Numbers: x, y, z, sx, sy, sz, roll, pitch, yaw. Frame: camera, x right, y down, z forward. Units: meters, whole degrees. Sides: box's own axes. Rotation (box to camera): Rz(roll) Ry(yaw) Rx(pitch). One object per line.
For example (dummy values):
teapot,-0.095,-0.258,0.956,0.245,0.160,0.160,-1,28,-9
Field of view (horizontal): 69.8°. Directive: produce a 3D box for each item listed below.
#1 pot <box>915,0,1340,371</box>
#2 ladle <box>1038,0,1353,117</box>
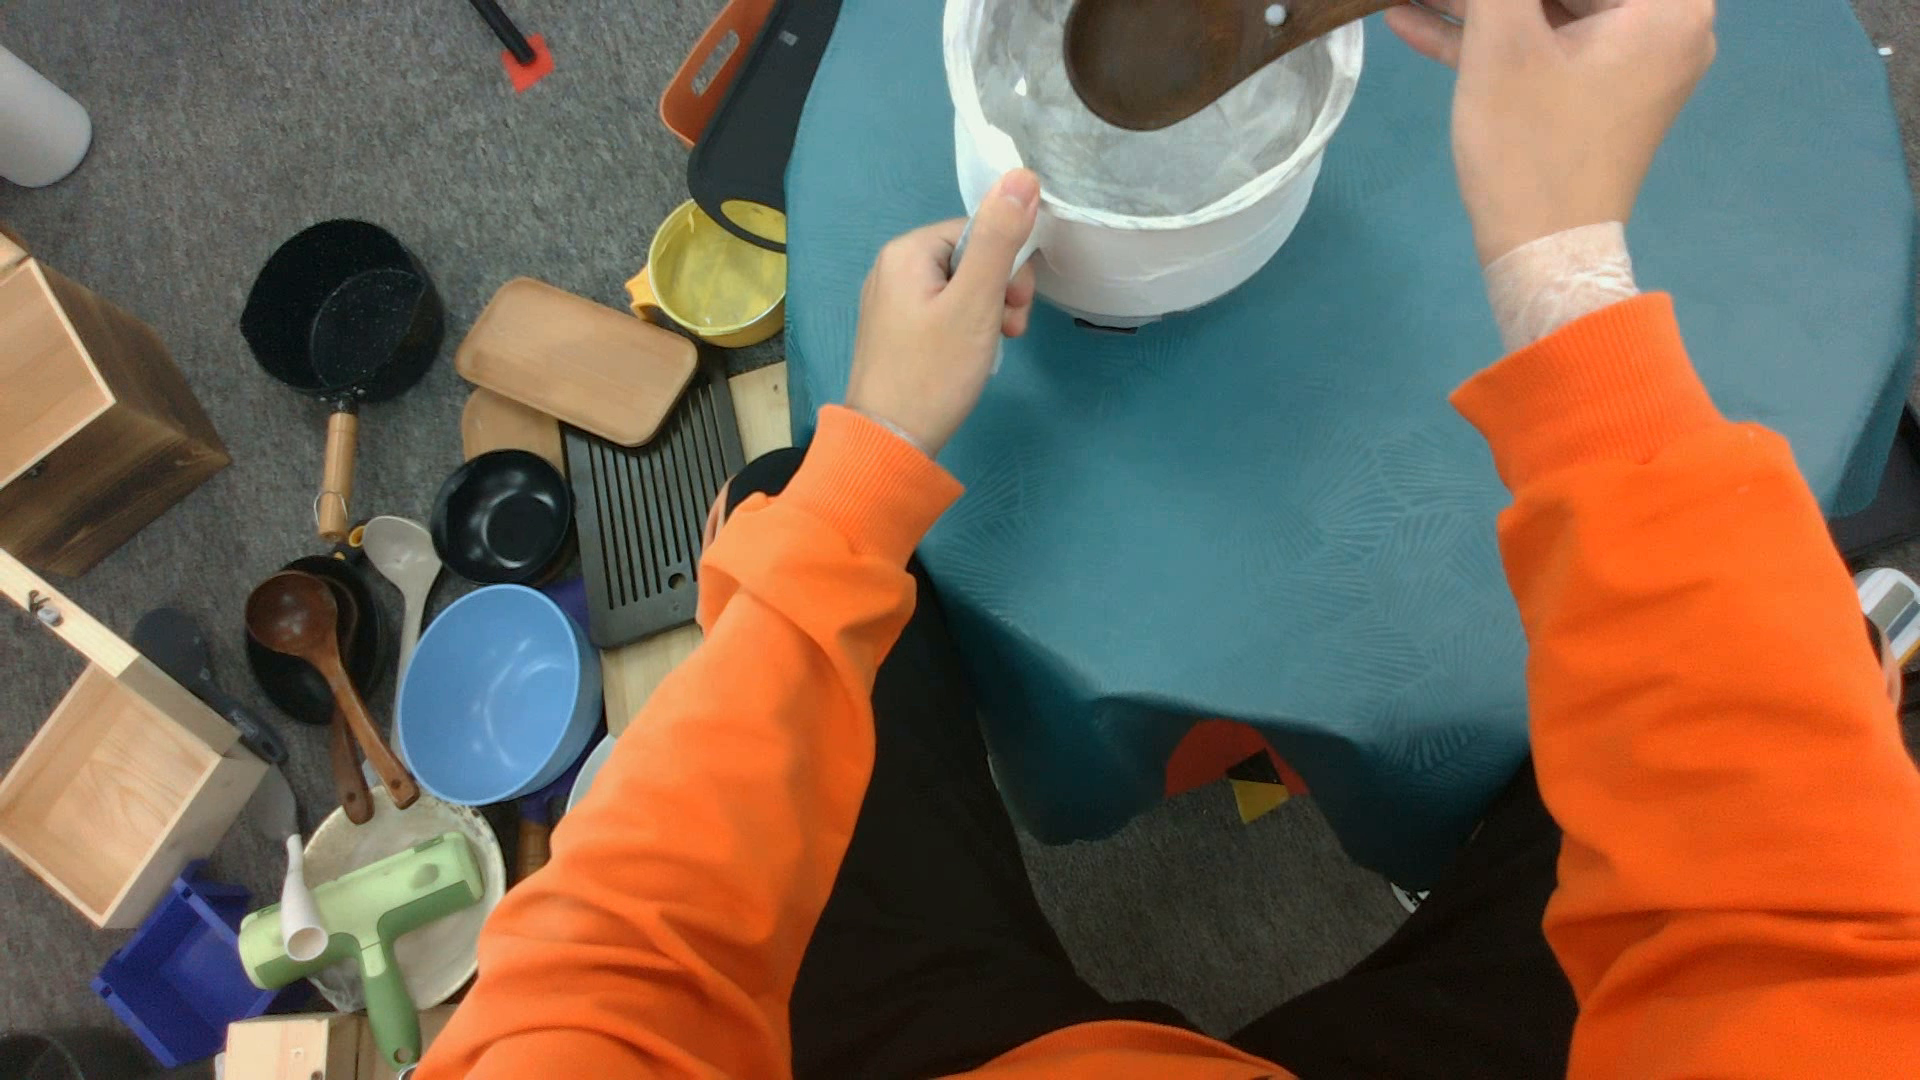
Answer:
pot,0.060,-0.186,0.647,0.179,0.136,0.234,36,82,10
ladle,0.138,-0.214,0.509,0.273,0.071,0.076,6,95,53
